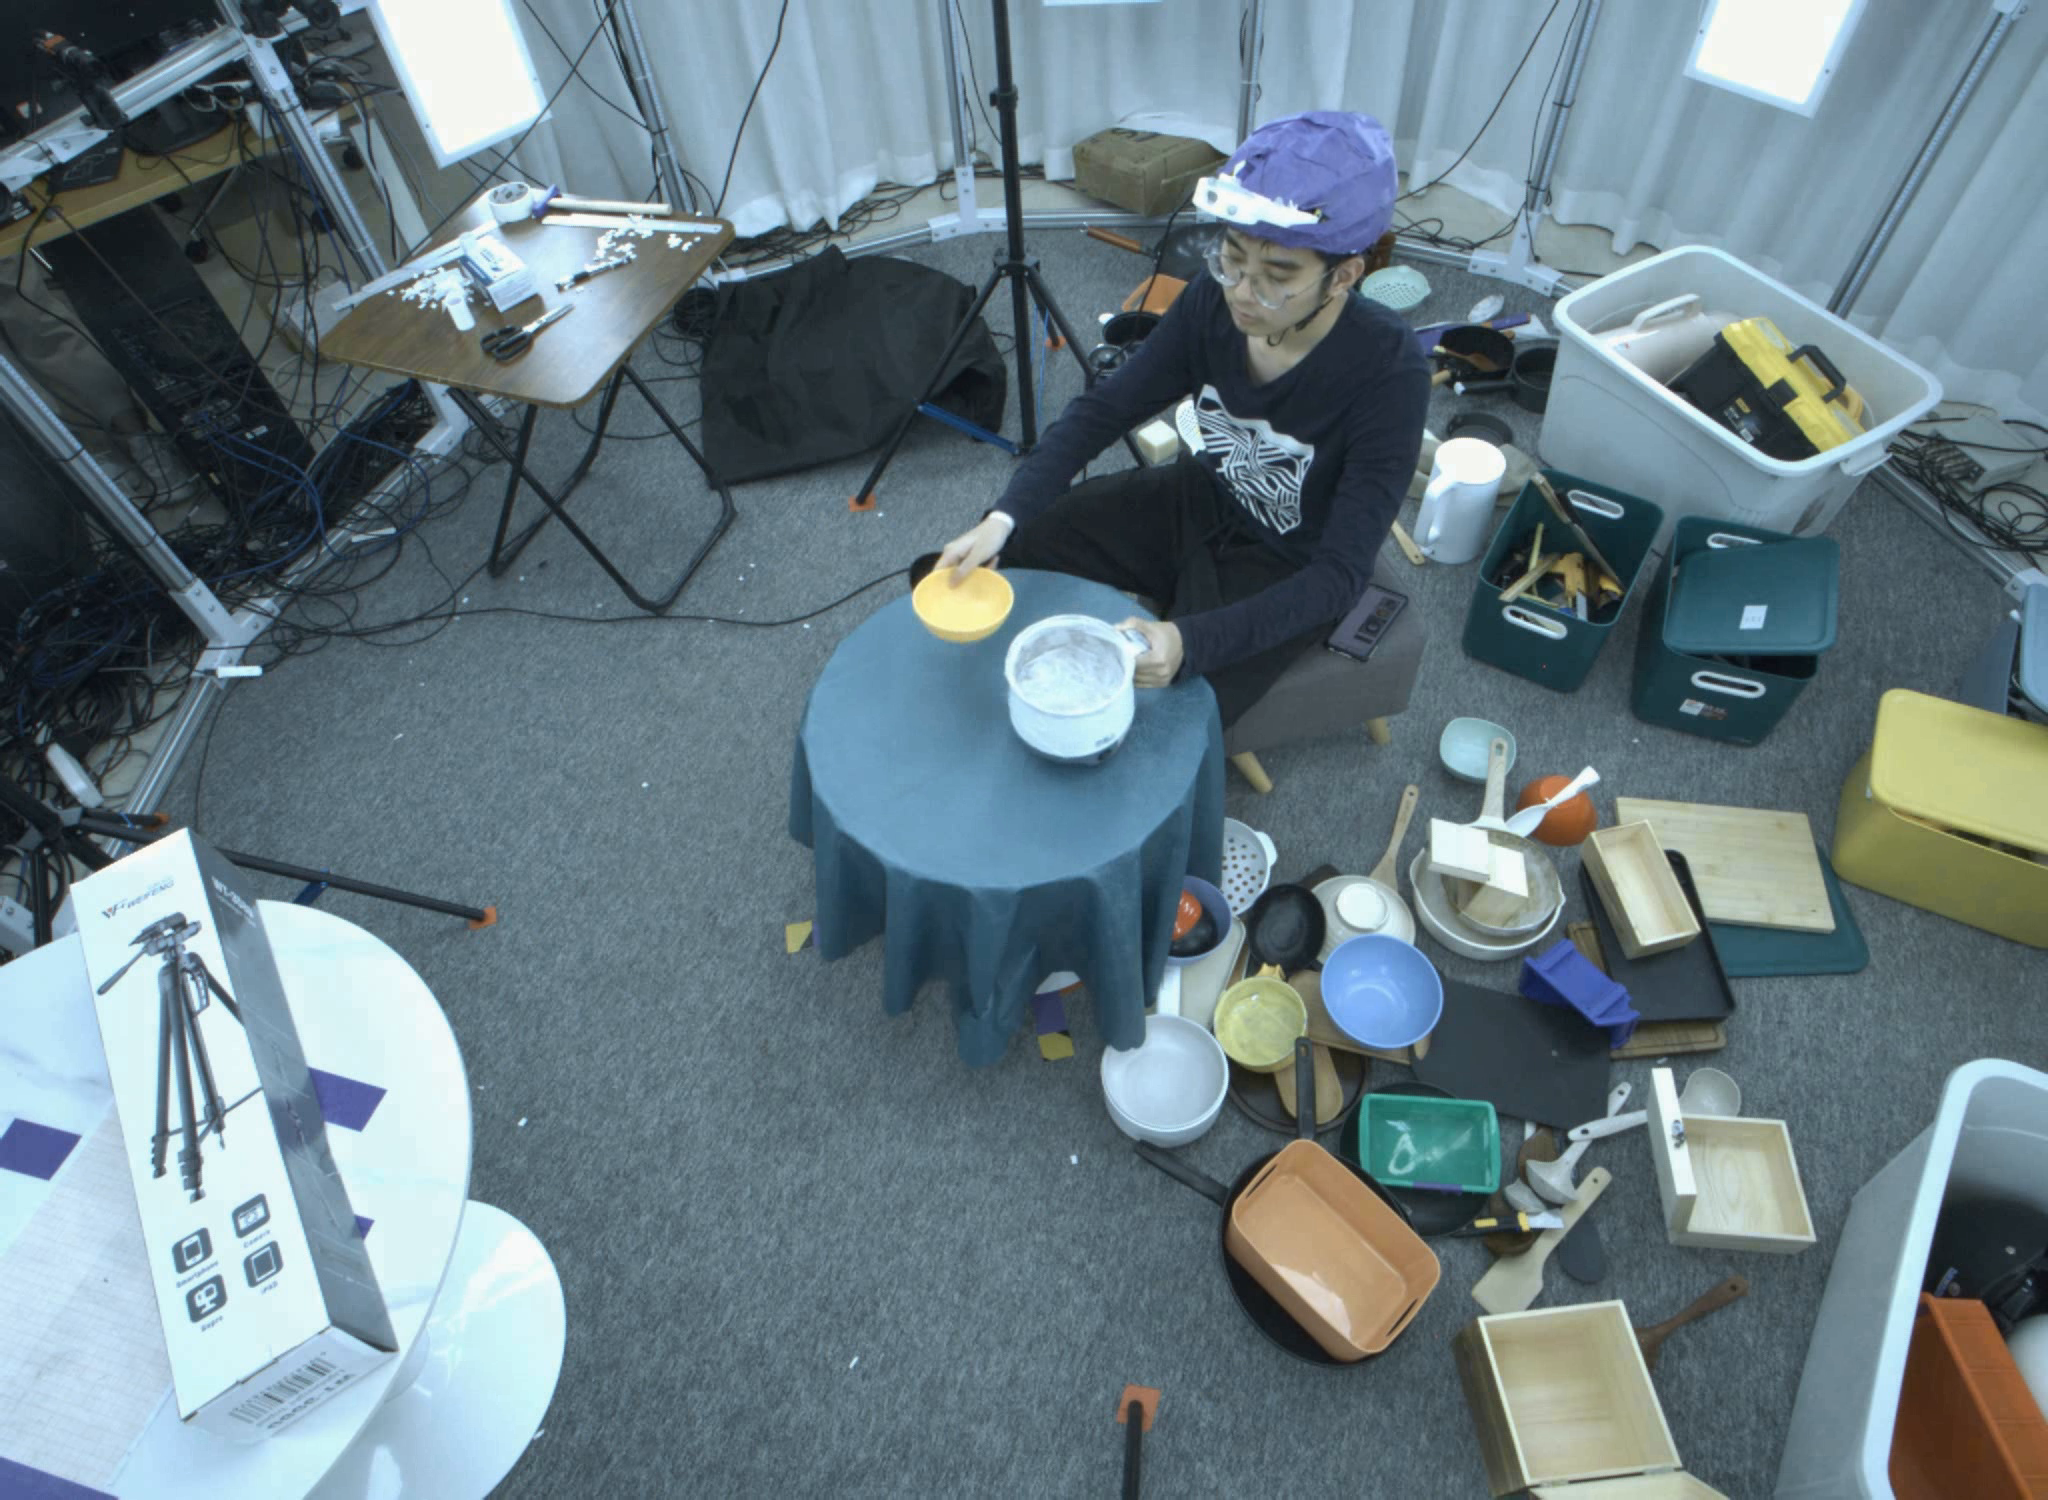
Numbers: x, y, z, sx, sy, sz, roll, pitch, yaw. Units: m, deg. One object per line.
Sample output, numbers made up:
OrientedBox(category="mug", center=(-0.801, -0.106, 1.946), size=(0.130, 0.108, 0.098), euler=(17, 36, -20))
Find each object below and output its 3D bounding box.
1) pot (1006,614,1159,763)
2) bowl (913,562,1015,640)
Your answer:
OrientedBox(category="pot", center=(0.089, -0.096, 1.744), size=(0.235, 0.138, 0.175), euler=(-30, 62, -17))
OrientedBox(category="bowl", center=(-0.086, -0.204, 1.775), size=(0.145, 0.060, 0.144), euler=(2, 49, -1))
